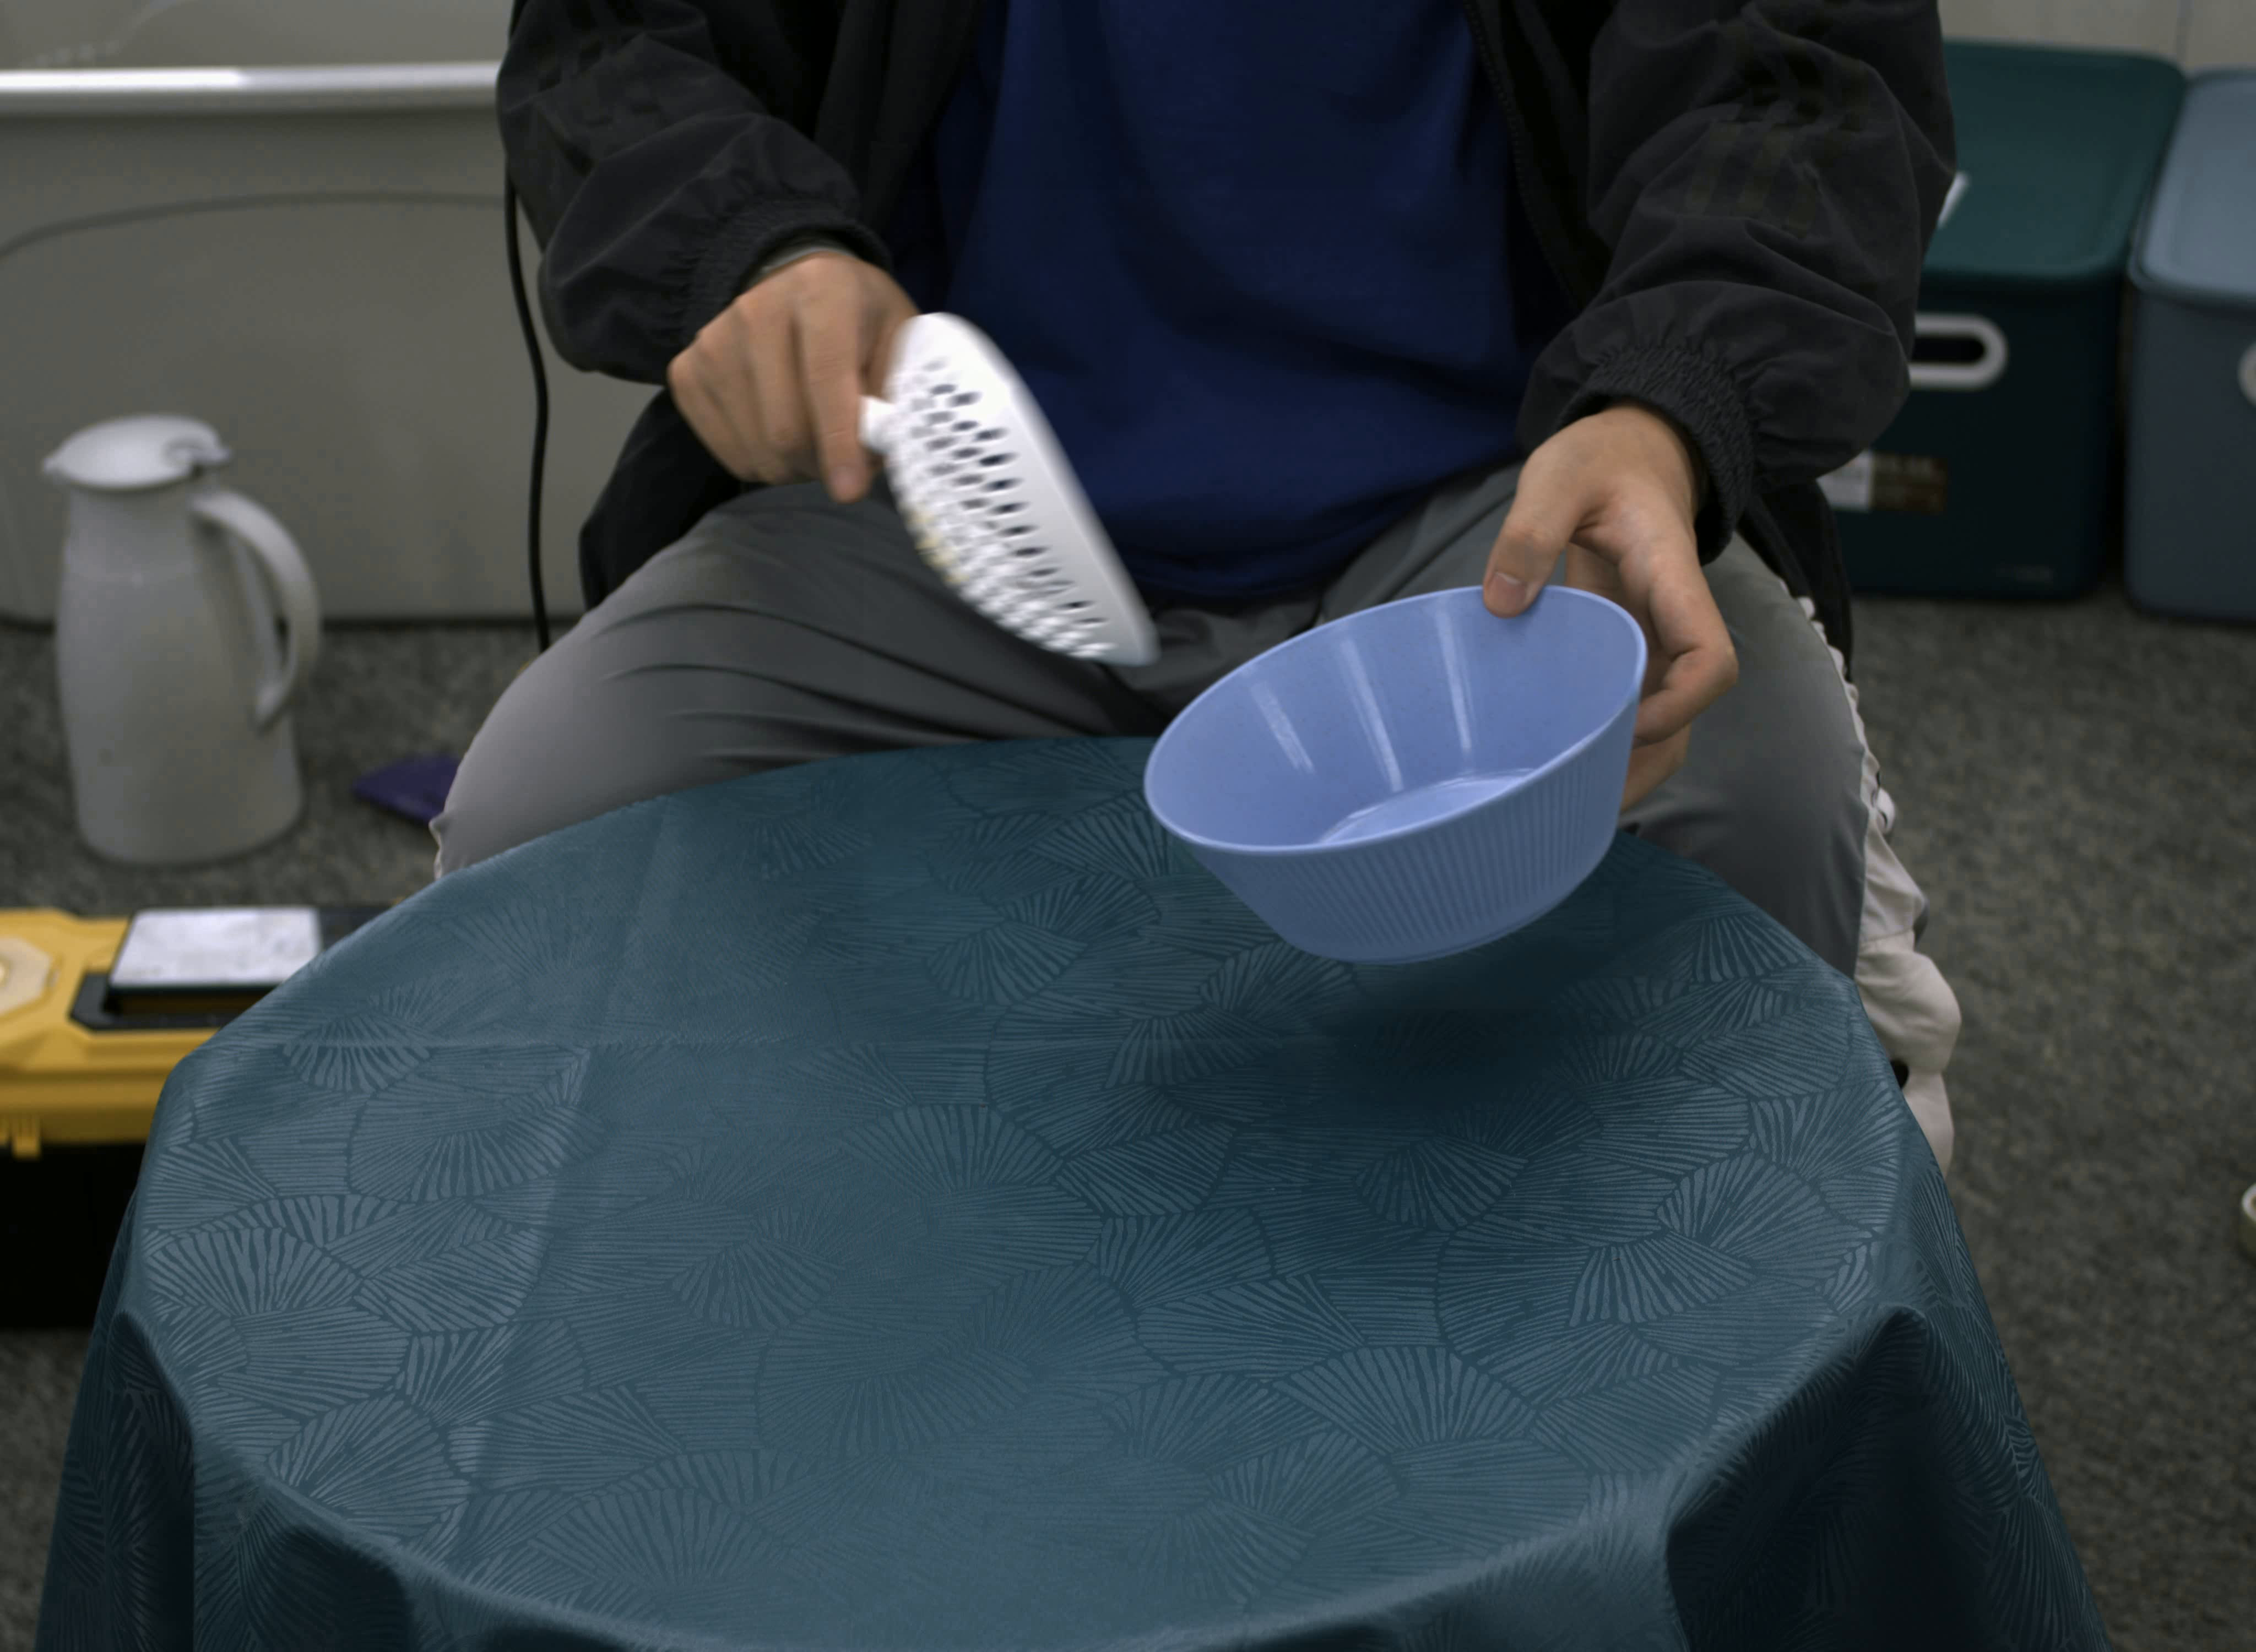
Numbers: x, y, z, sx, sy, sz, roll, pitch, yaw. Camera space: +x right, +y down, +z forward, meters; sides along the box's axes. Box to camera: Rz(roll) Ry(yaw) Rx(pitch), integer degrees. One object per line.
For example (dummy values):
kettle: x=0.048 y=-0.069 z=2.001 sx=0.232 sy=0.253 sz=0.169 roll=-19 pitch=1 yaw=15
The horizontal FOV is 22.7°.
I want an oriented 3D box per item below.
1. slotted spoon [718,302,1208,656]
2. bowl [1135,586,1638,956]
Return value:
slotted spoon: x=-0.070 y=-0.127 z=1.940 sx=0.050 sy=0.136 sz=0.348 roll=-34 pitch=21 yaw=-9
bowl: x=0.095 y=-0.013 z=1.900 sx=0.175 sy=0.070 sz=0.178 roll=-15 pitch=24 yaw=7
